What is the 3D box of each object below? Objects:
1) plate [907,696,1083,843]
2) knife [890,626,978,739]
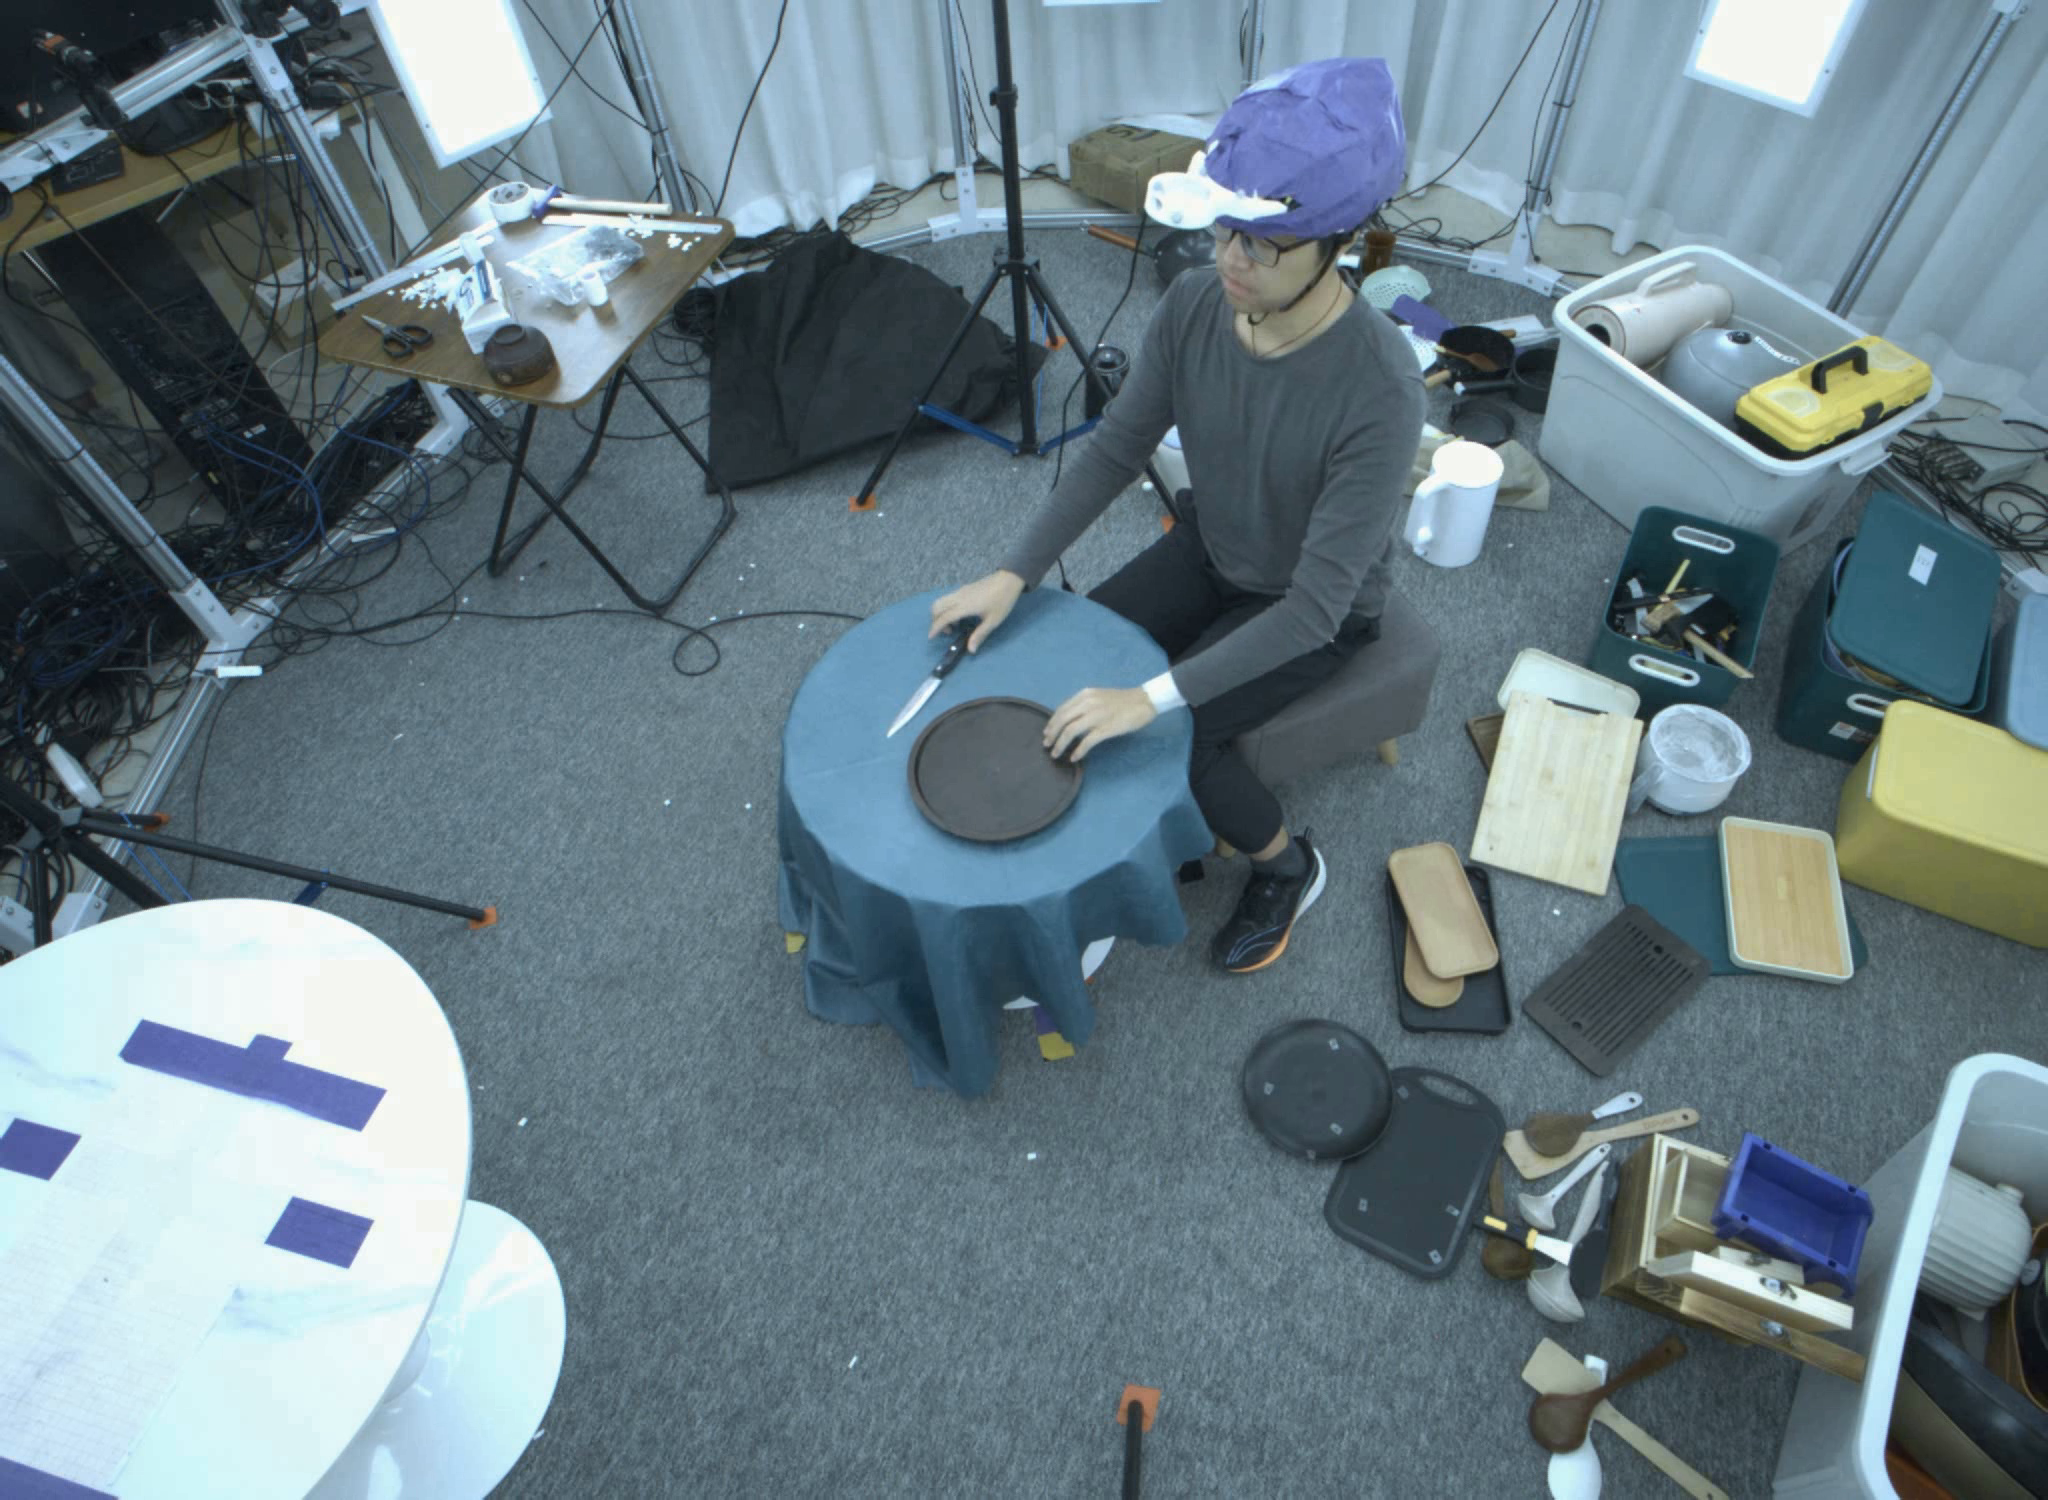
[{"bbox_3d":[-0.041,0.026,1.763,0.254,0.029,0.252,0,55,2],"label":"plate"},{"bbox_3d":[-0.140,-0.105,1.867,0.024,0.016,0.239,24,61,20],"label":"knife"}]
